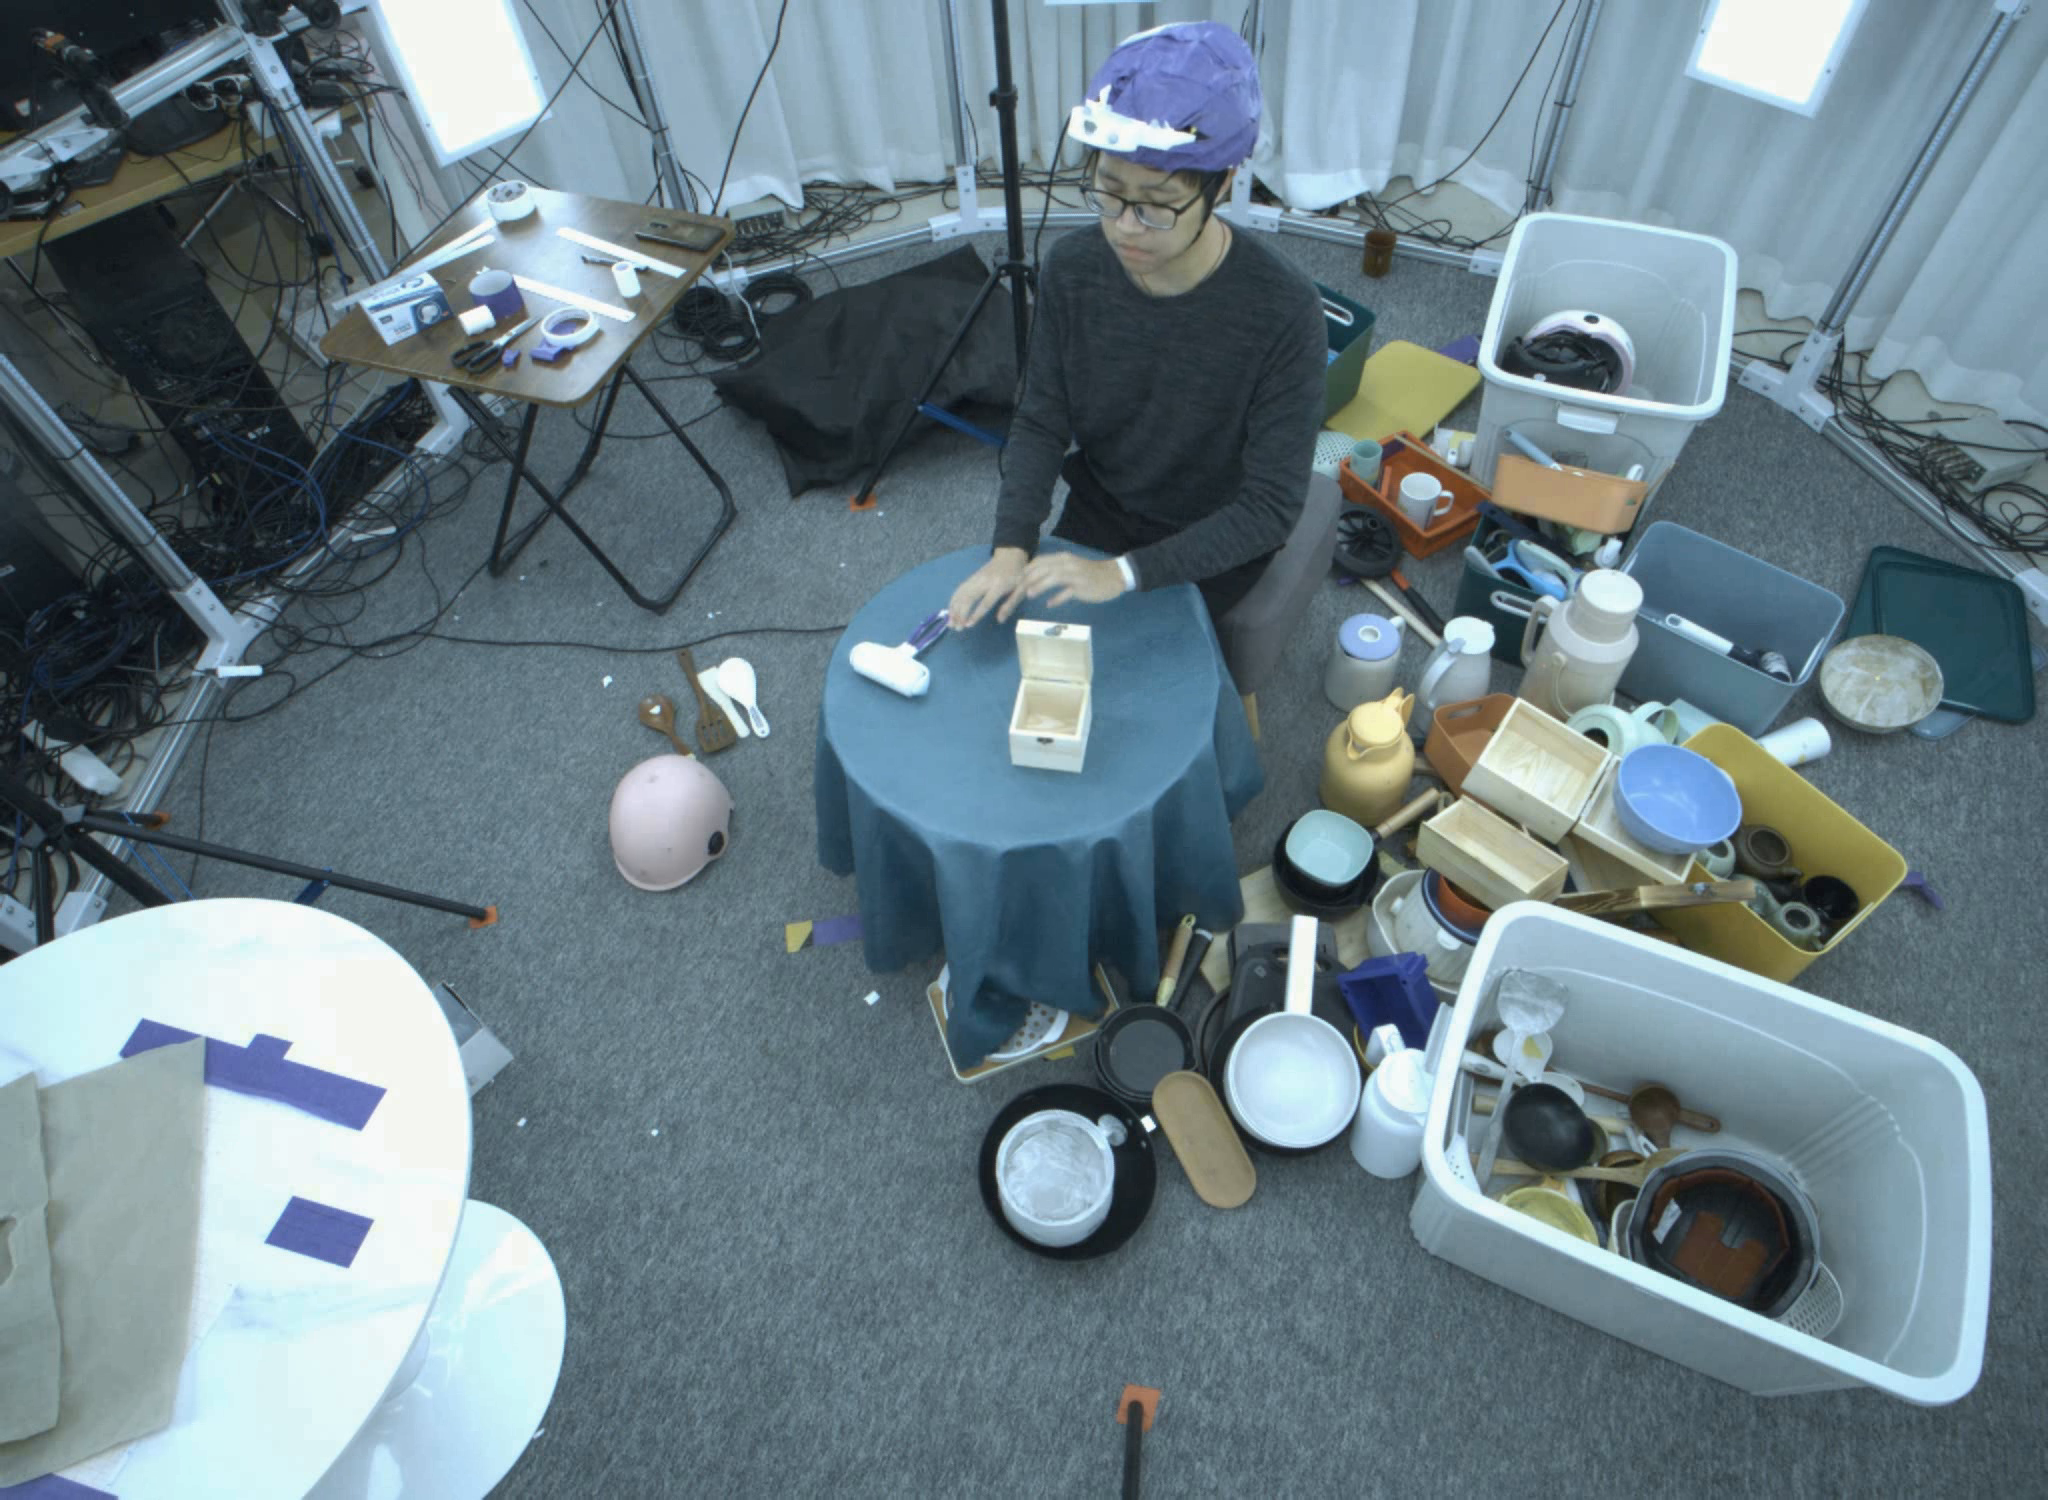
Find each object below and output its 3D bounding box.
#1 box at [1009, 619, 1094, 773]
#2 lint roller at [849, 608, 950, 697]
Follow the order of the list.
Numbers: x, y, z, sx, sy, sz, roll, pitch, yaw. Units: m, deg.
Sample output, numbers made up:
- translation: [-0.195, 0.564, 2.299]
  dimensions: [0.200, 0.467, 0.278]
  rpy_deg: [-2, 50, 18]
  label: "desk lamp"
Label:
- translation: [0.038, -0.073, 1.725]
  dimensions: [0.102, 0.186, 0.133]
  rpy_deg: [6, 55, 8]
  label: "box"
- translation: [-0.170, -0.167, 1.882]
  dimensions: [0.131, 0.051, 0.181]
  rpy_deg: [27, 62, 21]
  label: "lint roller"
